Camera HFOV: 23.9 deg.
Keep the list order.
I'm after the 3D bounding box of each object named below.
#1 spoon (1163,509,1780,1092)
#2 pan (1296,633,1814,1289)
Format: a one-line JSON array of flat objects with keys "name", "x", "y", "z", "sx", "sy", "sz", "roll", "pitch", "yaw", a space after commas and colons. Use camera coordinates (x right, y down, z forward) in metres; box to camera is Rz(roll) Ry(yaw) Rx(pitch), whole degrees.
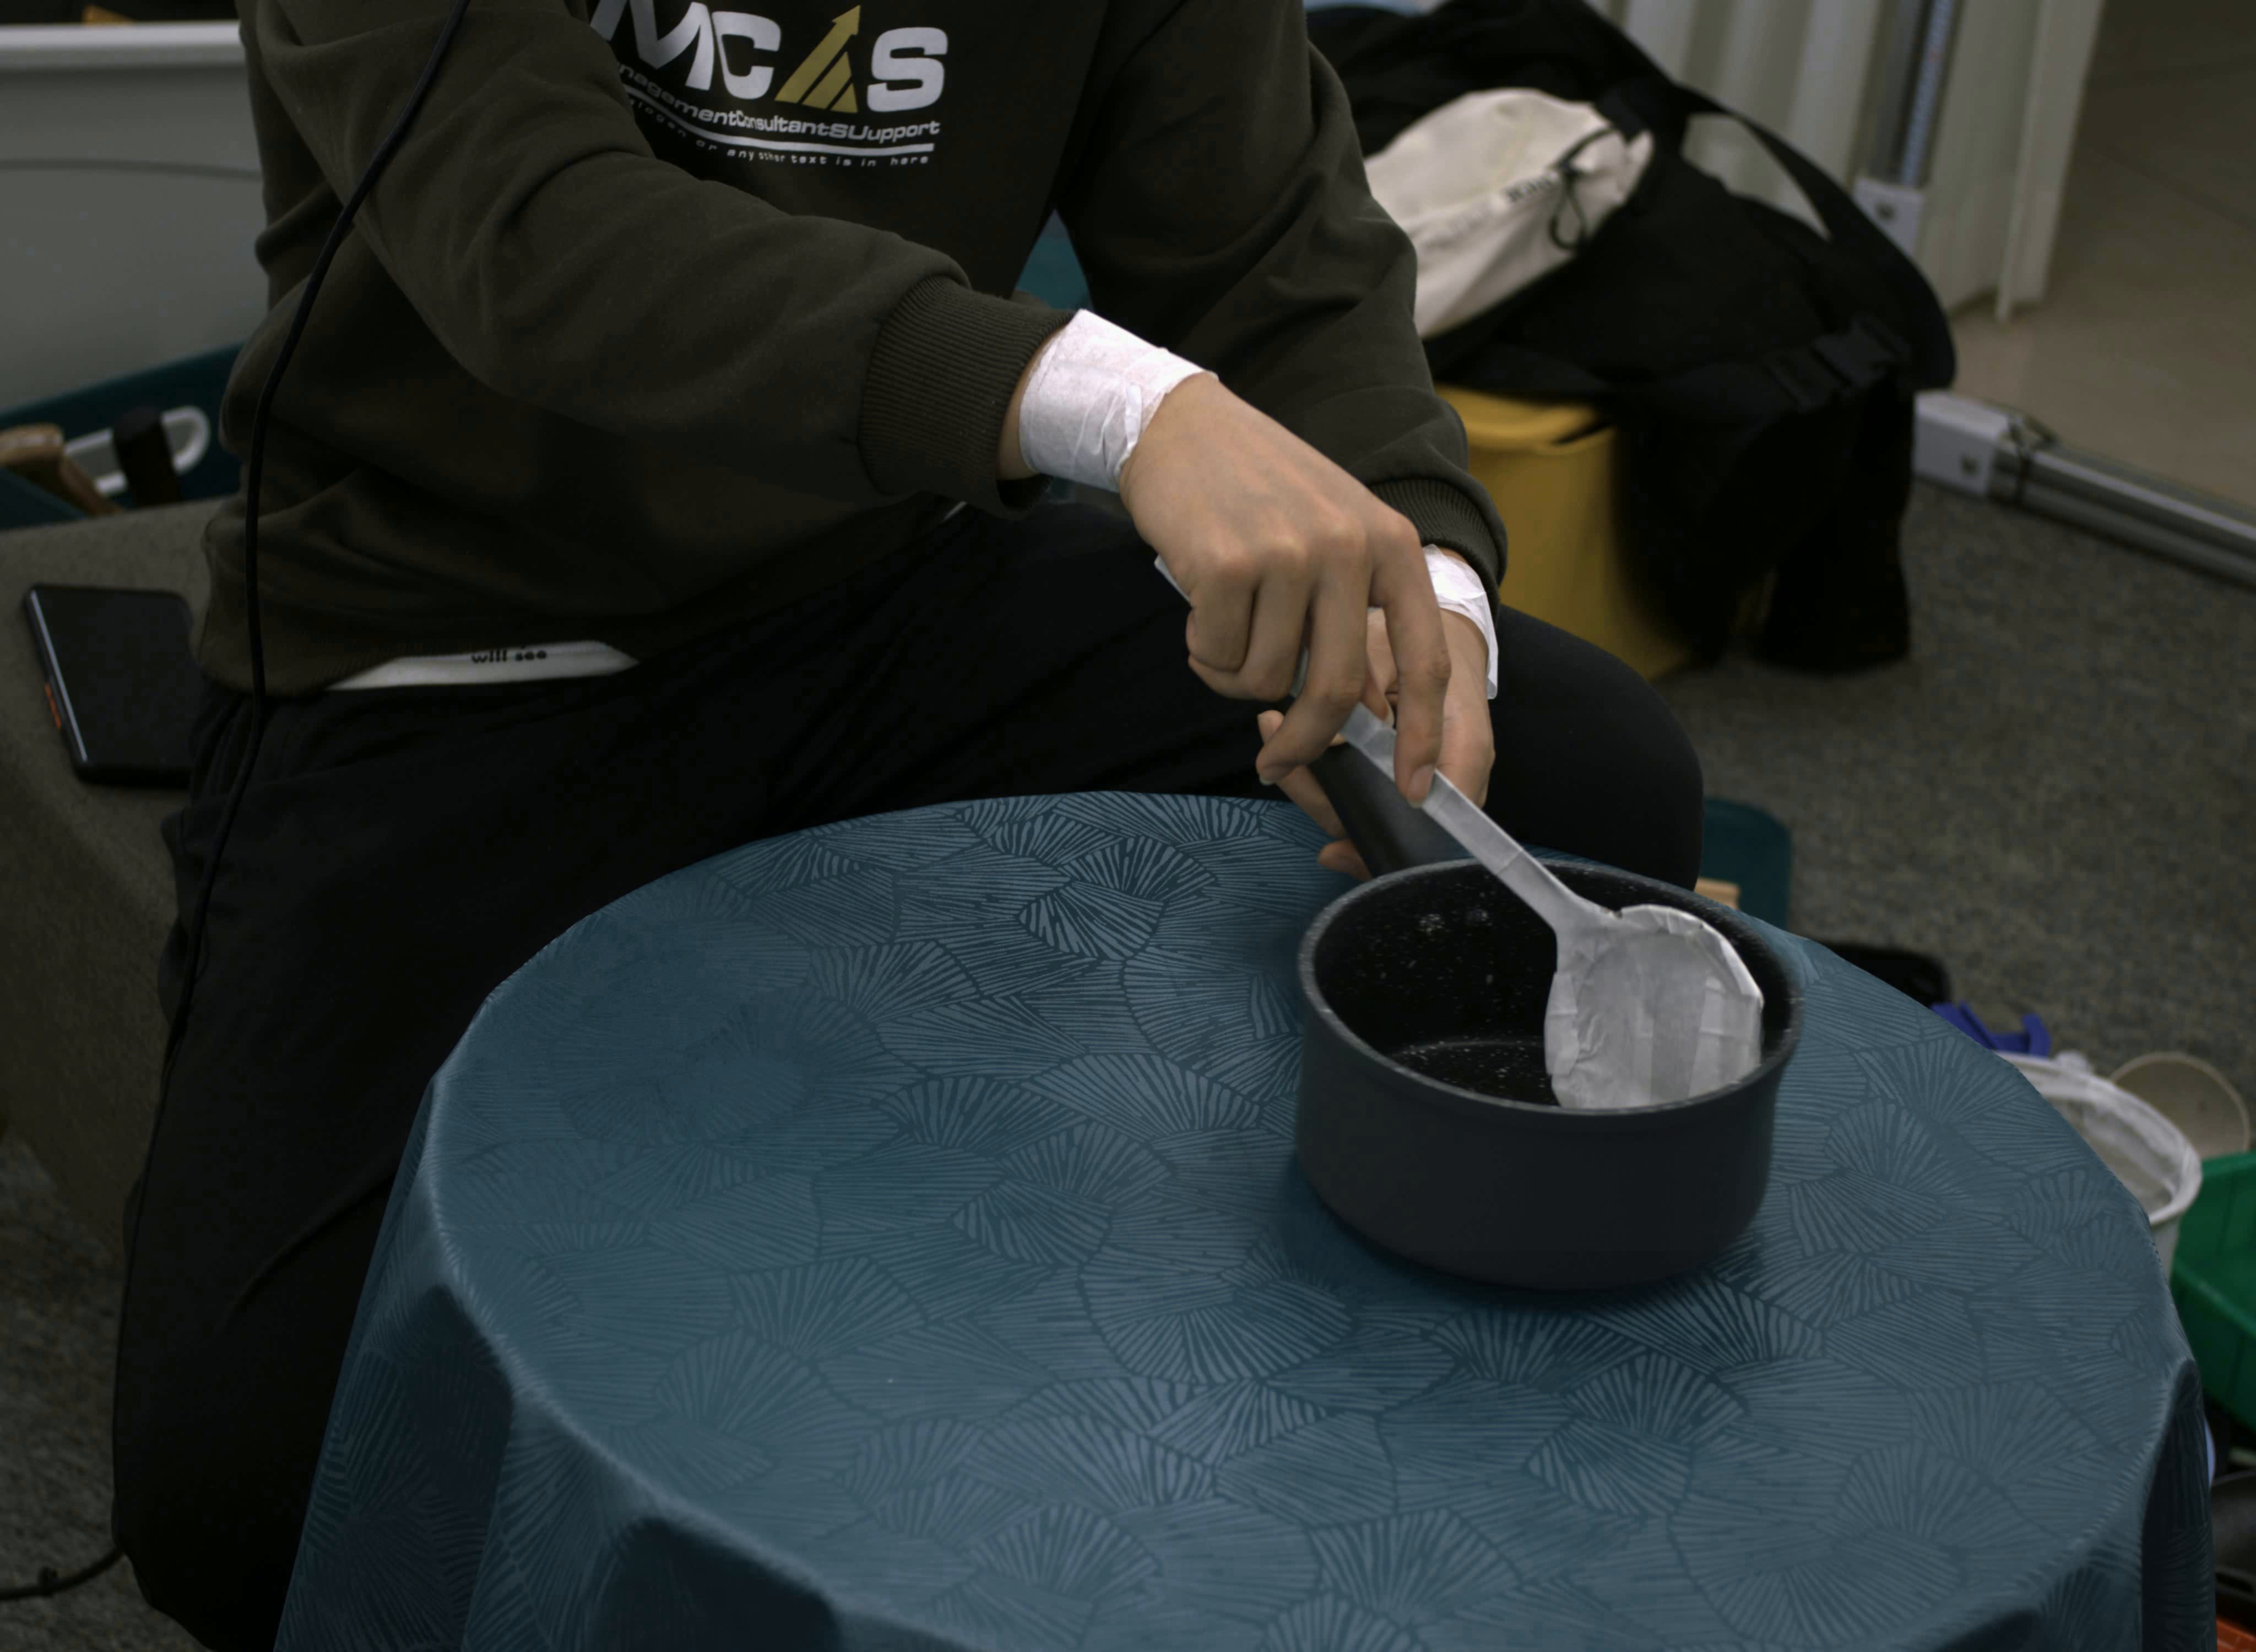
[{"name": "spoon", "x": 0.112, "y": -0.005, "z": 1.809, "sx": 0.277, "sy": 0.100, "sz": 0.059, "roll": 43, "pitch": 23, "yaw": -6}, {"name": "pan", "x": 0.120, "y": 0.044, "z": 1.874, "sx": 0.171, "sy": 0.086, "sz": 0.331, "roll": -4, "pitch": 30, "yaw": -17}]
